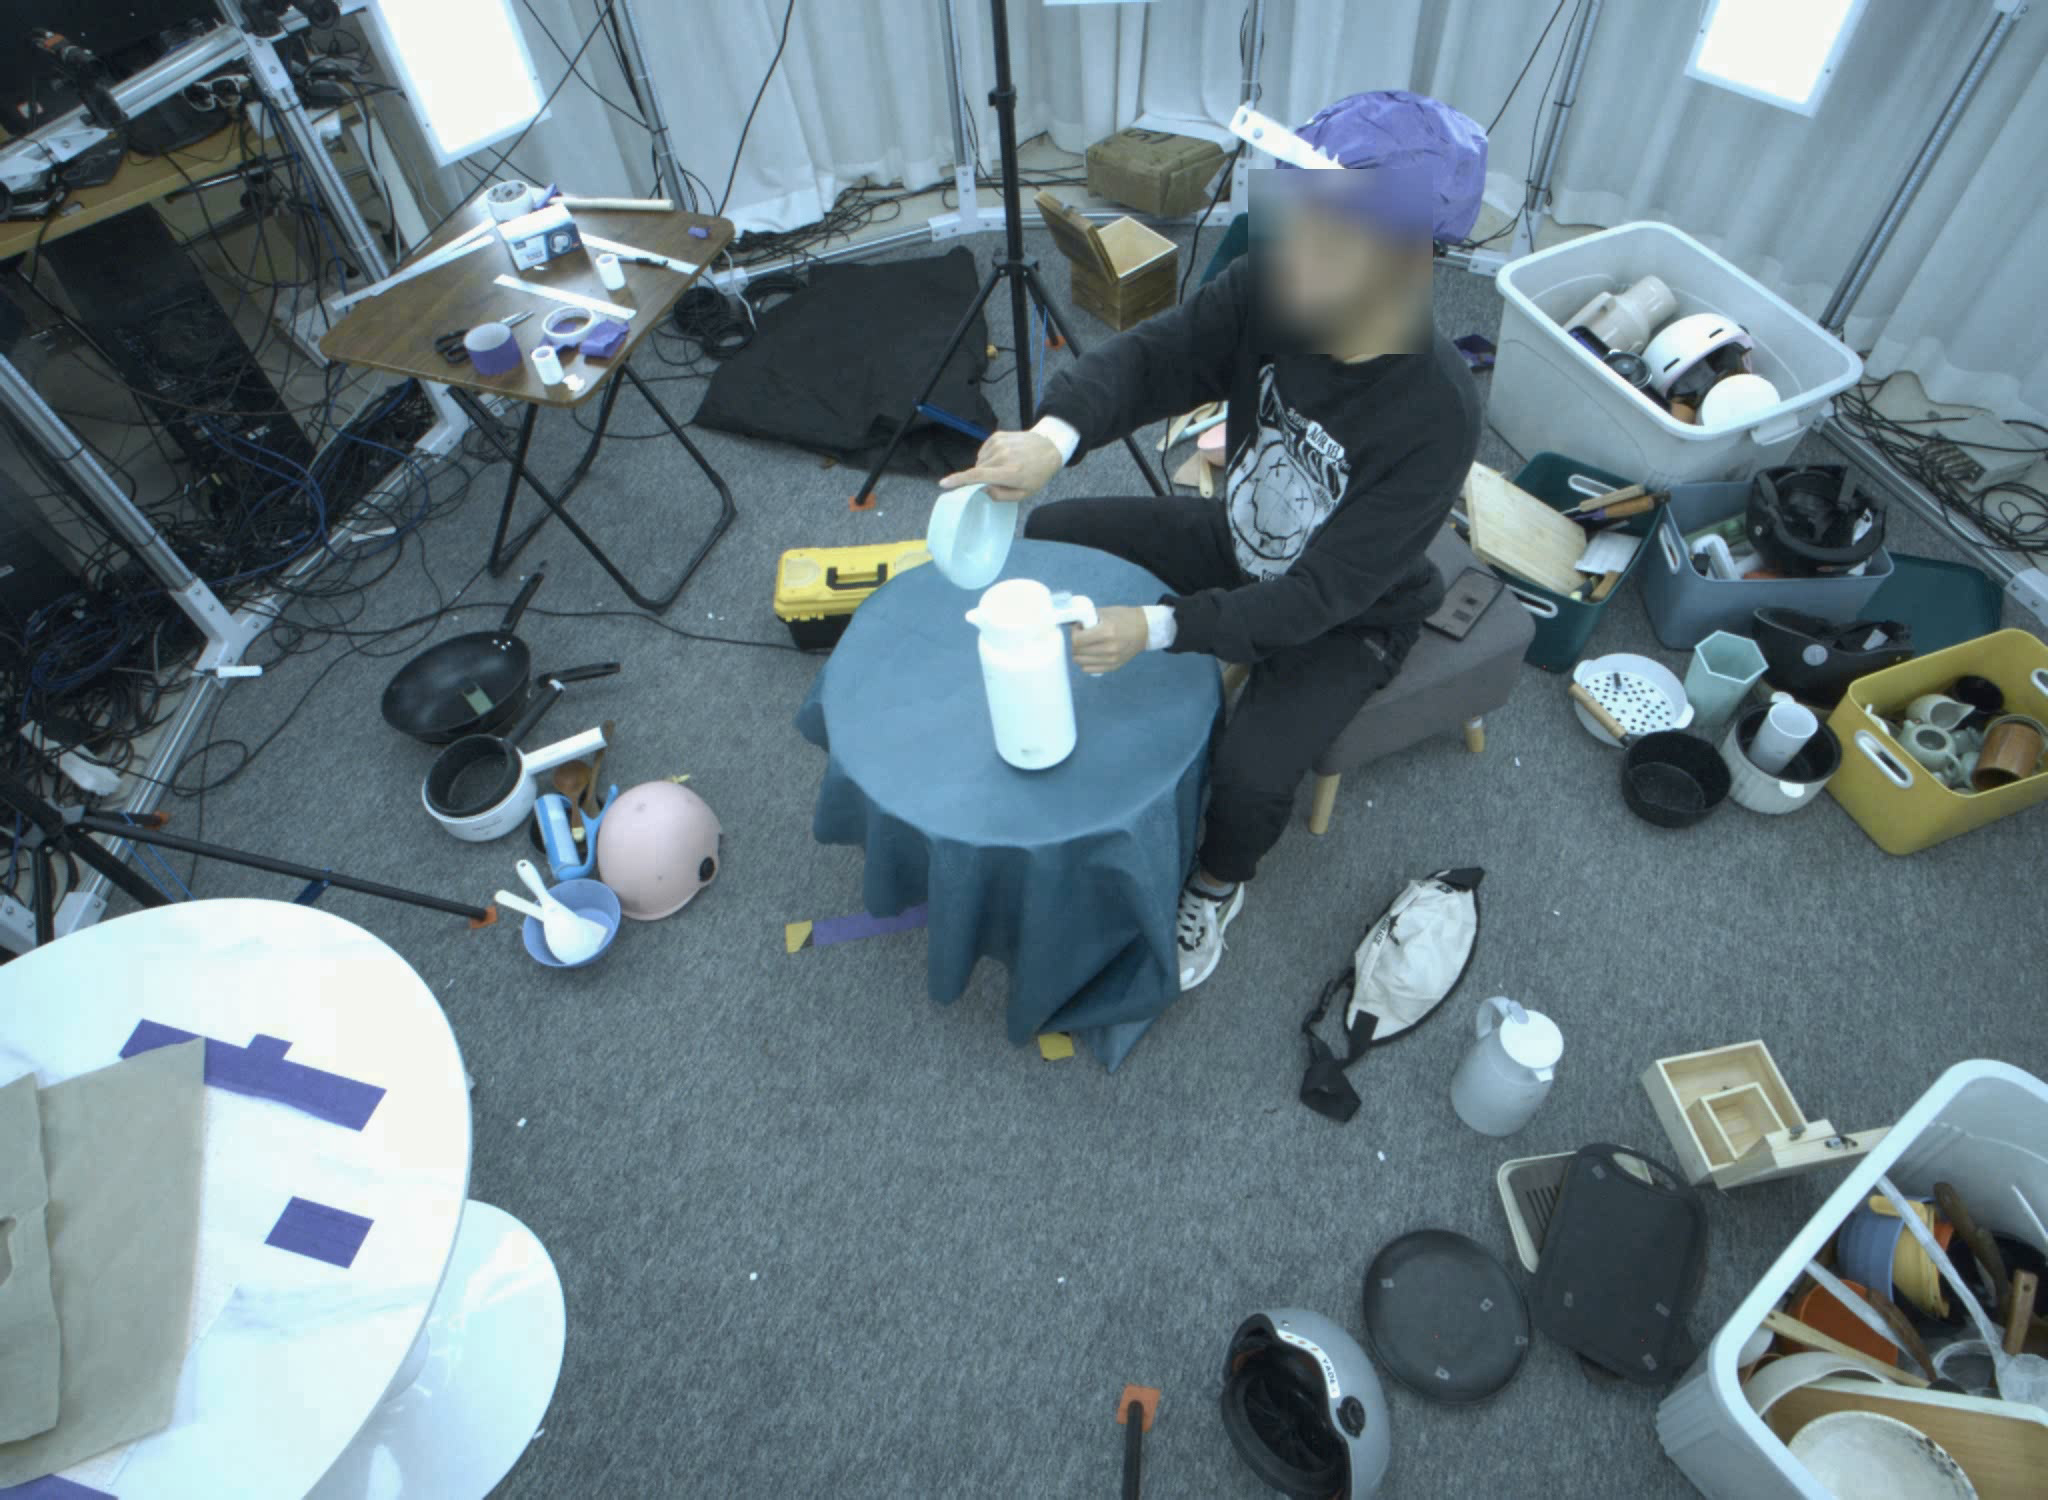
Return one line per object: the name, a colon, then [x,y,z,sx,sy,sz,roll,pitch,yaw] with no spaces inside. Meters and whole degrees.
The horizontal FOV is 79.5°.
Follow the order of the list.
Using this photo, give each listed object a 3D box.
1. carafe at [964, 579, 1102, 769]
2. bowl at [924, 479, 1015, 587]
carafe: [0.020,-0.105,1.687,0.173,0.272,0.122,-11,45,-2]
bowl: [-0.077,-0.279,1.535,0.057,0.153,0.152,22,59,25]
